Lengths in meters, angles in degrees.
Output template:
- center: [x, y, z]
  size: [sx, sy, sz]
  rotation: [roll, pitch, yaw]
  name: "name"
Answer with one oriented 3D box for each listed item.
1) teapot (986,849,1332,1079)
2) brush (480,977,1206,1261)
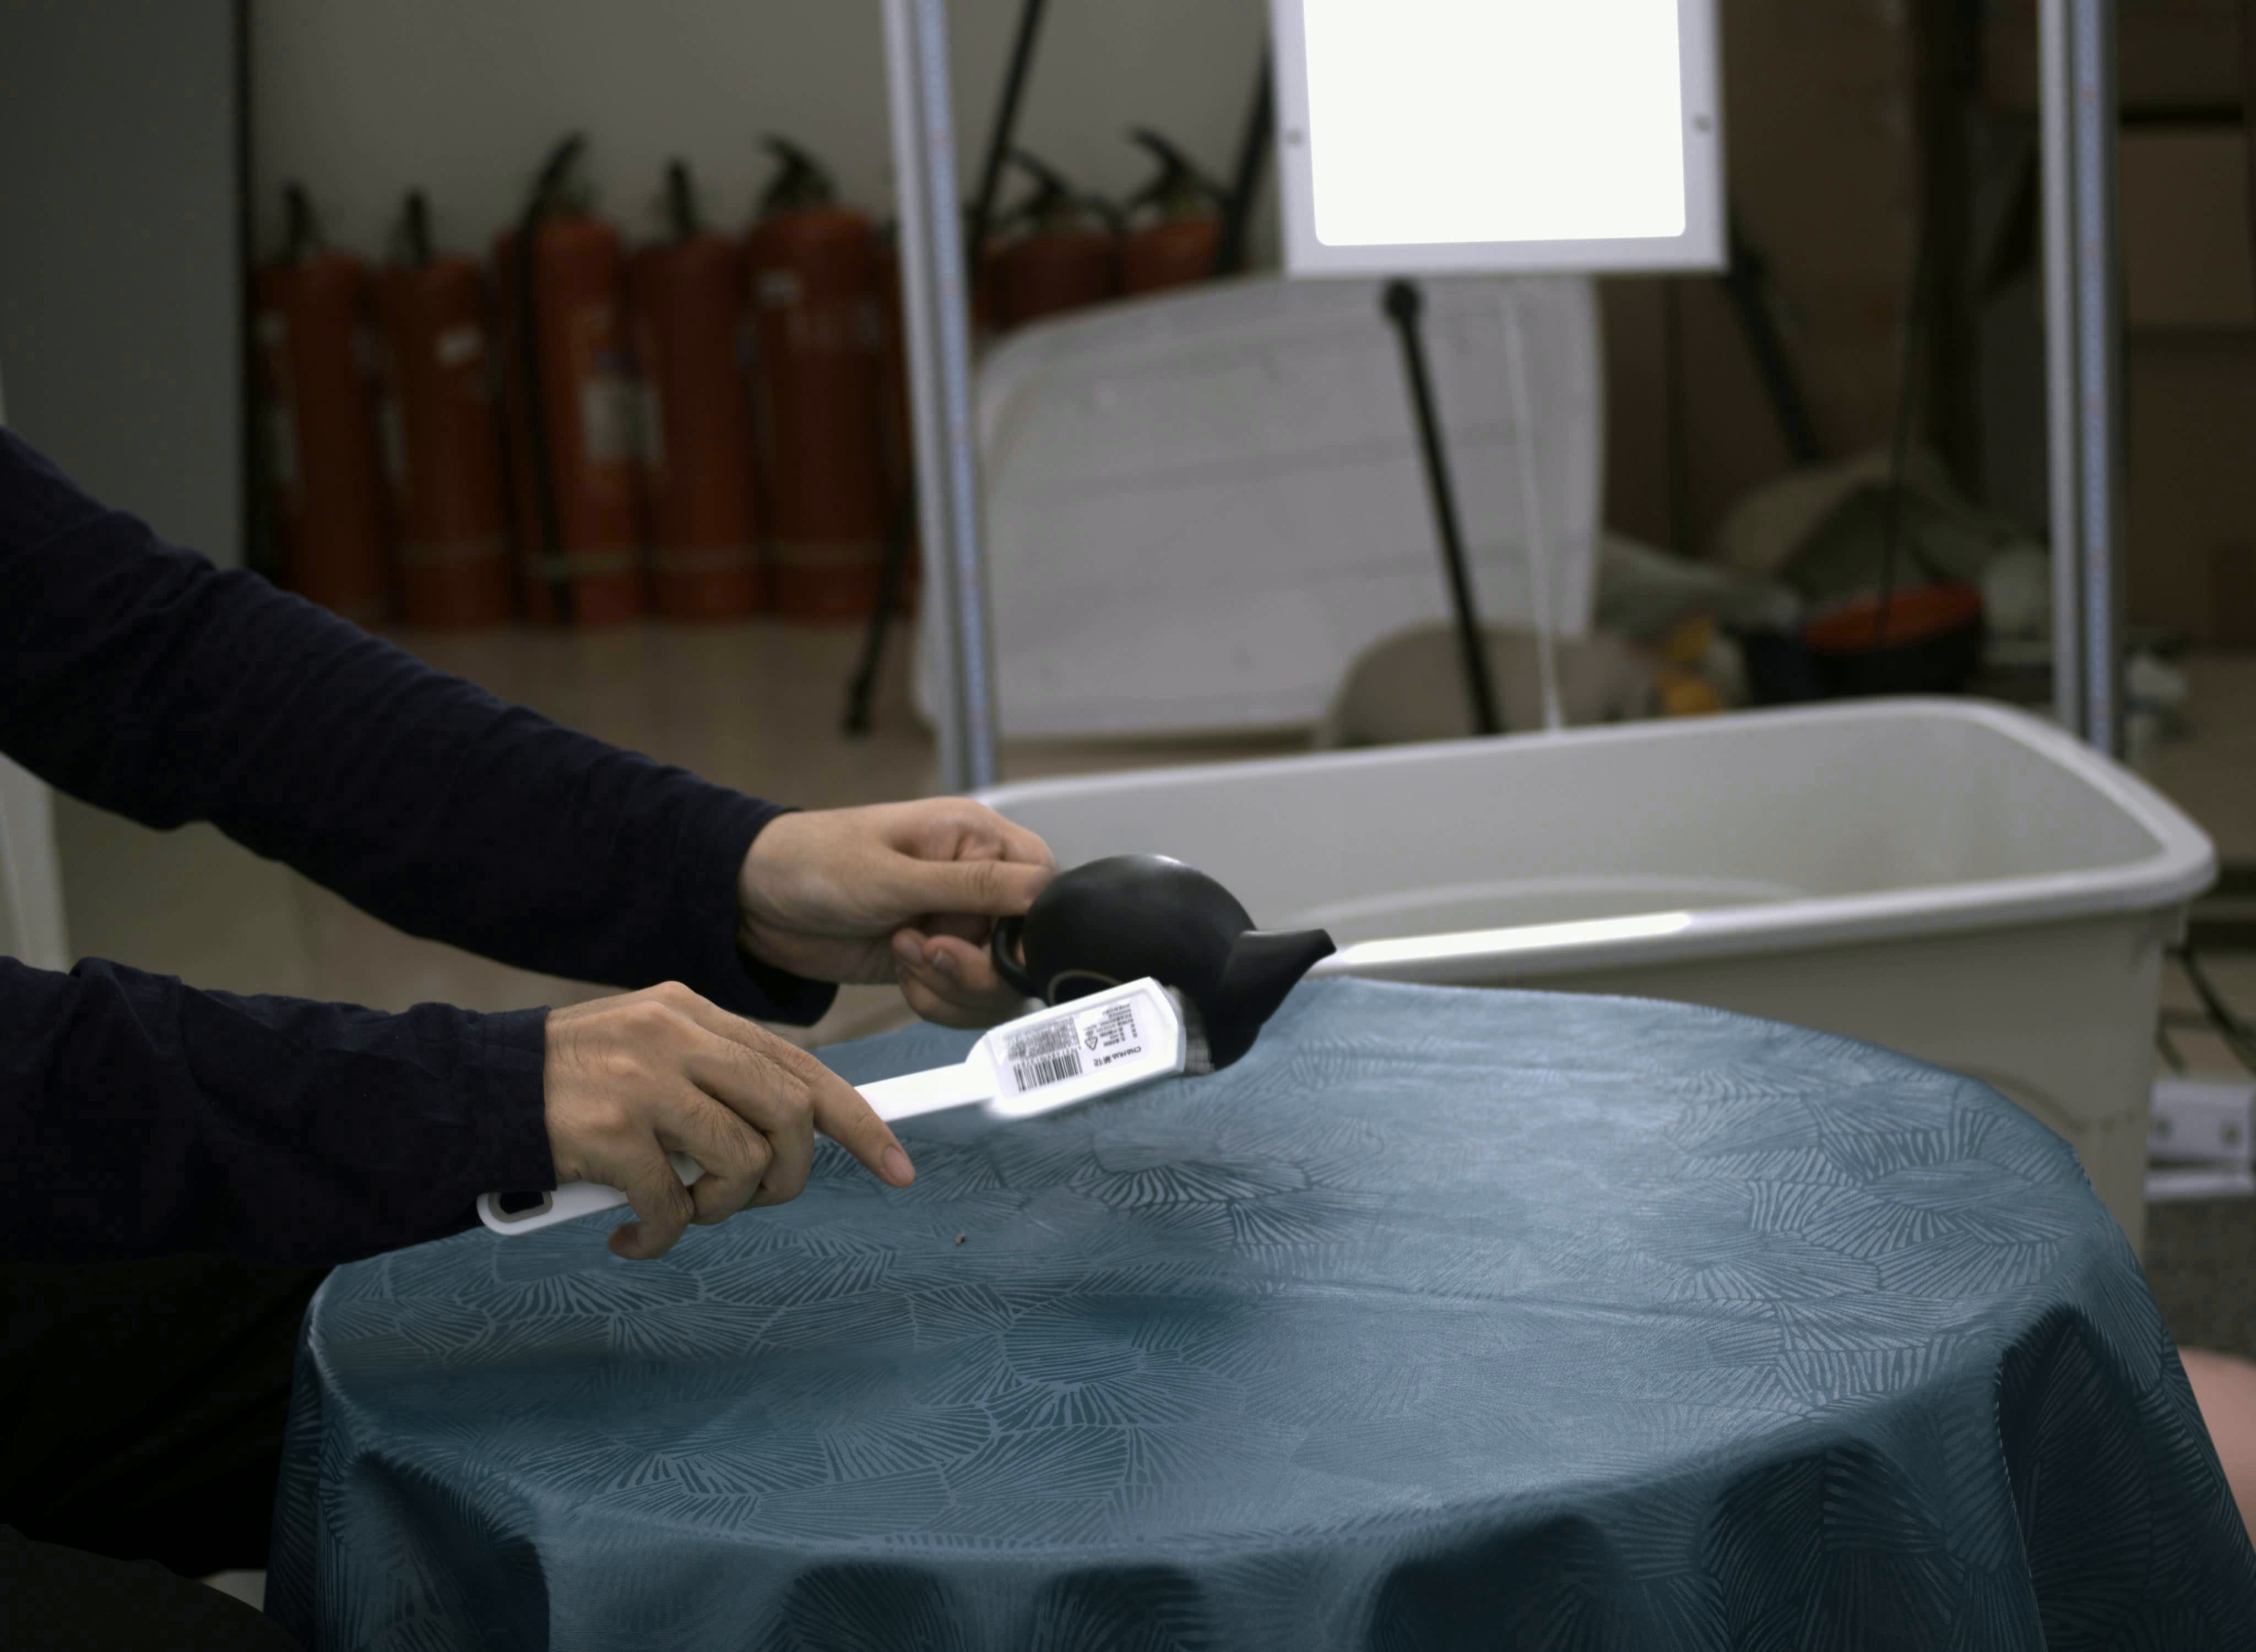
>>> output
- center: [0.005, 0.047, 1.901]
  size: [0.136, 0.090, 0.052]
  rotation: [9, 47, 36]
  name: "teapot"
- center: [-0.091, 0.100, 1.786]
  size: [0.241, 0.034, 0.050]
  rotation: [-17, -15, -7]
  name: "brush"
